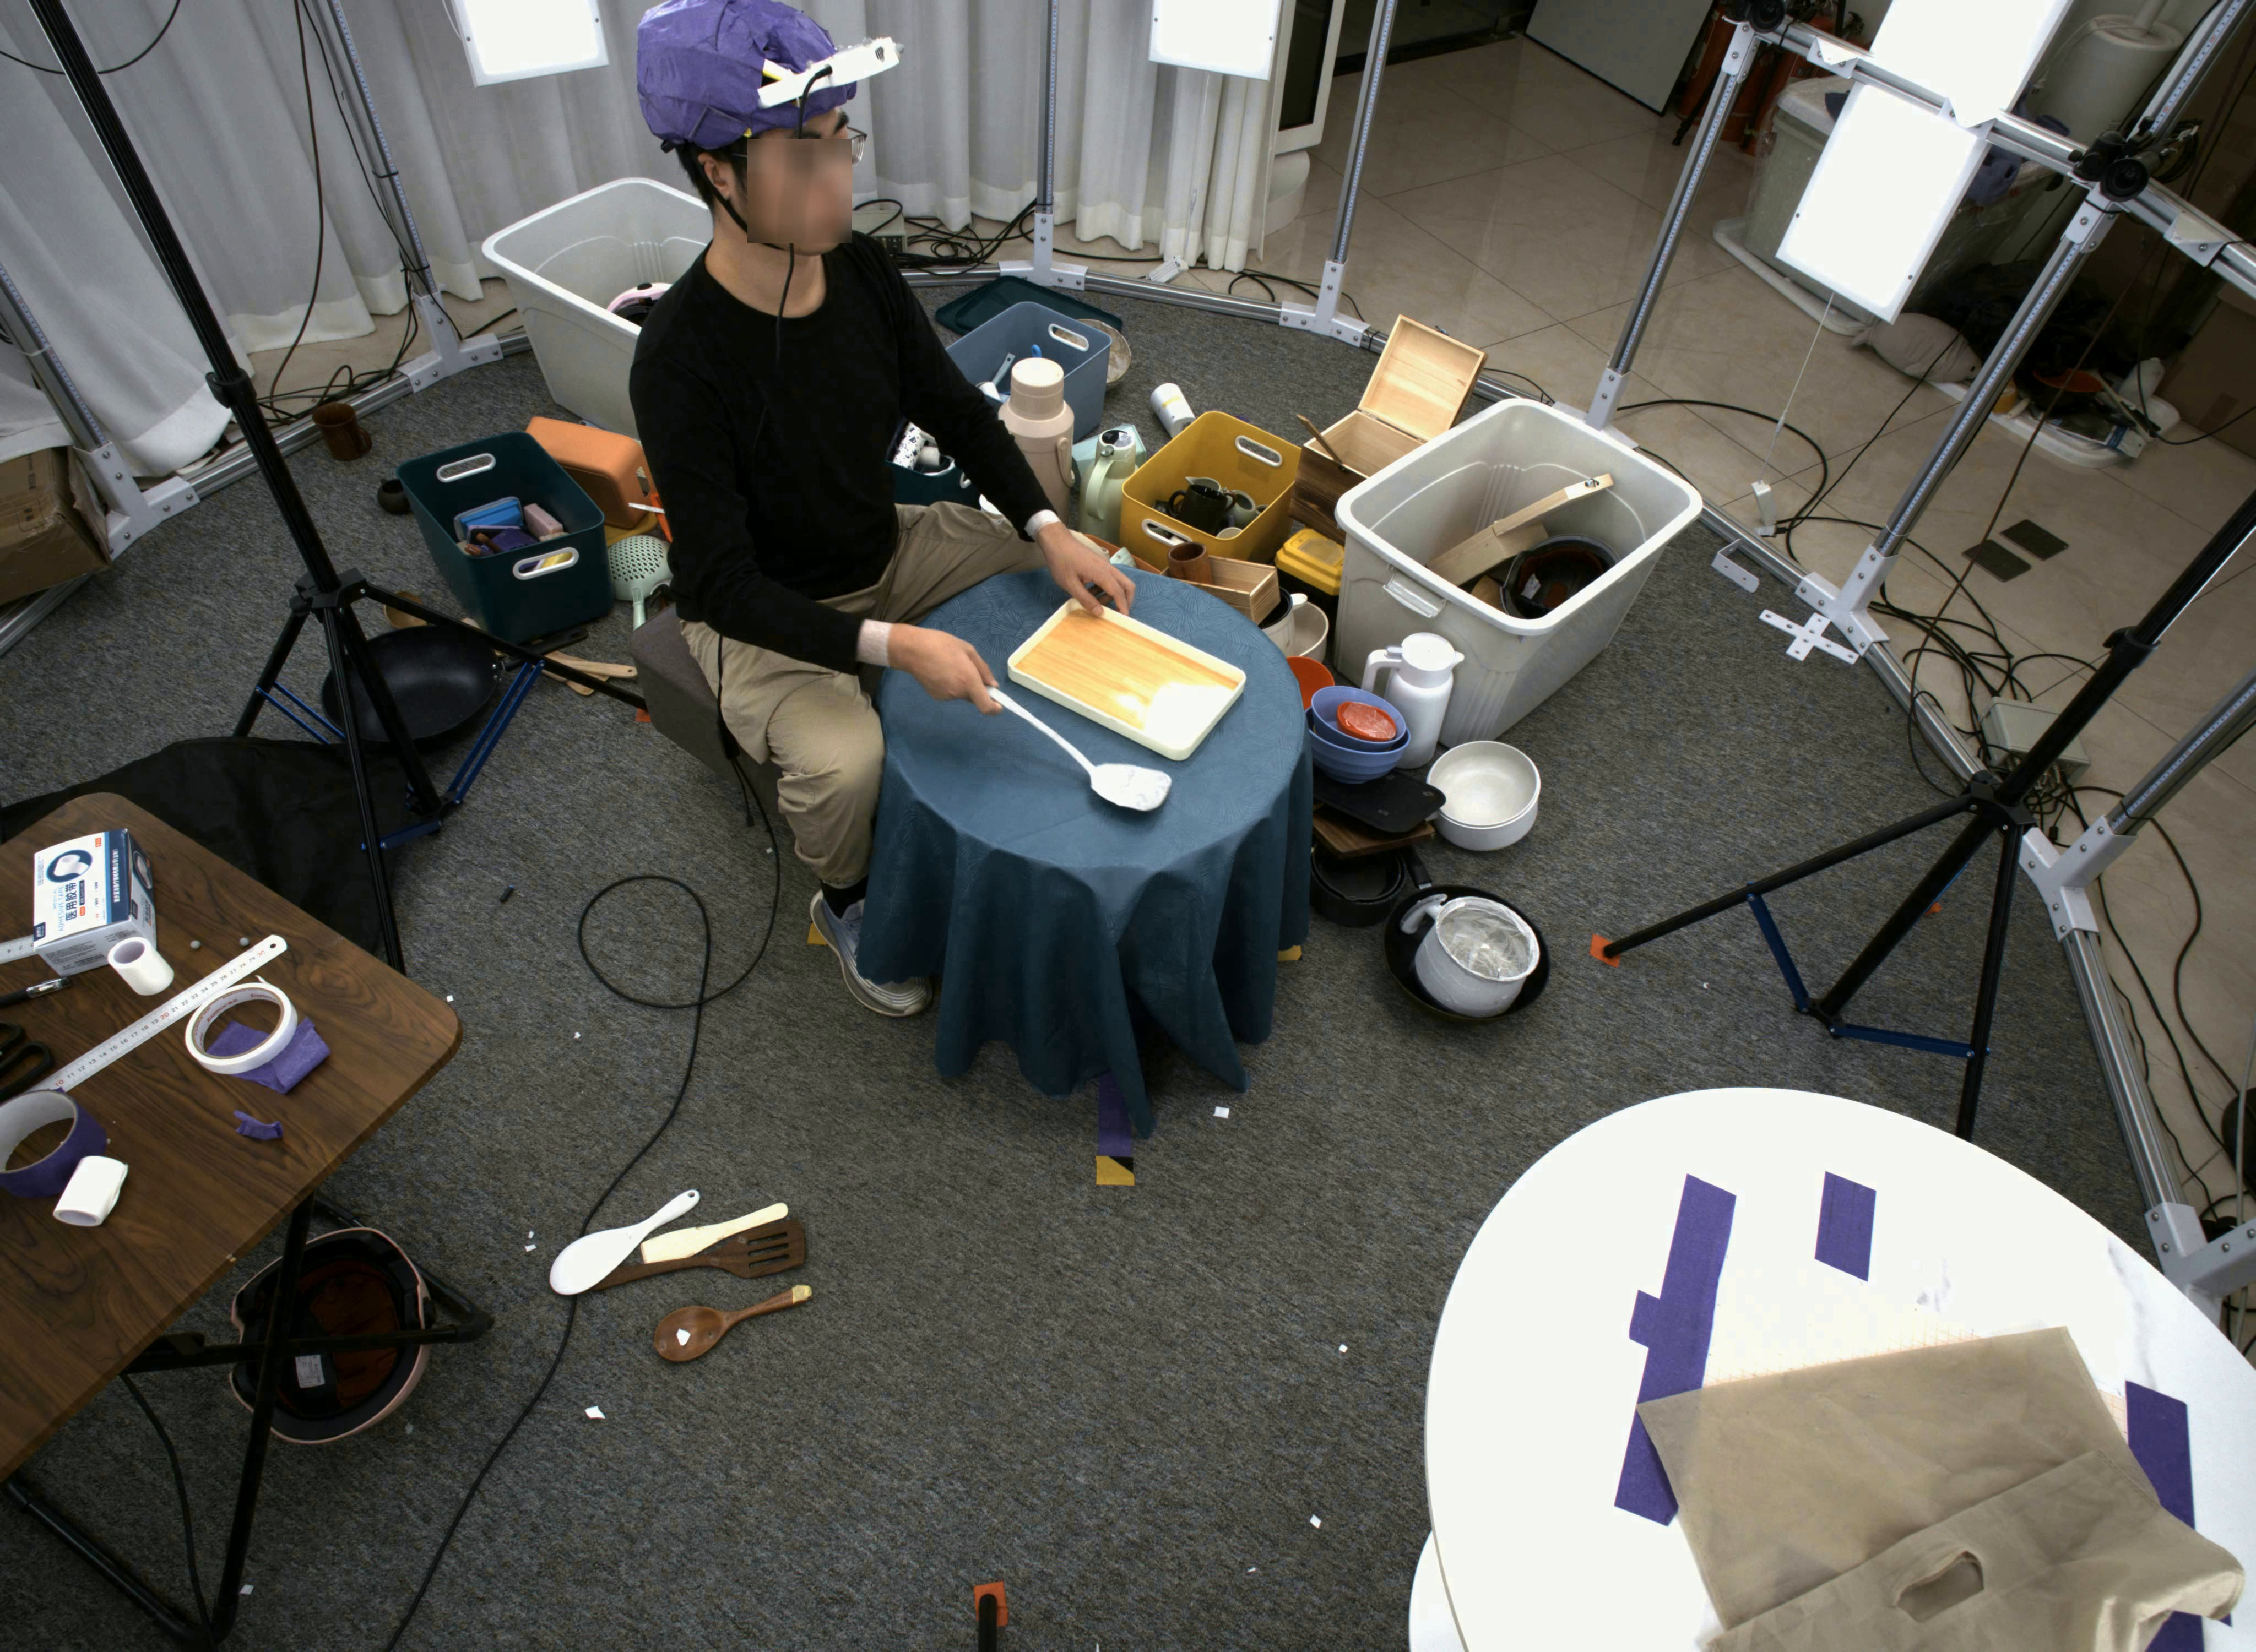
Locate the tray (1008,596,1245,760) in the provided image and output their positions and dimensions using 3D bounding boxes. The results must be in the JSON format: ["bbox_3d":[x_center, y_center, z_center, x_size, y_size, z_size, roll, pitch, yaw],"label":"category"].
[{"bbox_3d":[-0.002,-0.217,1.841,0.303,0.027,0.194,28,53,19],"label":"tray"}]

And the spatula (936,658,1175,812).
[{"bbox_3d":[-0.103,-0.128,1.701,0.365,0.044,0.100,35,40,1],"label":"spatula"}]
